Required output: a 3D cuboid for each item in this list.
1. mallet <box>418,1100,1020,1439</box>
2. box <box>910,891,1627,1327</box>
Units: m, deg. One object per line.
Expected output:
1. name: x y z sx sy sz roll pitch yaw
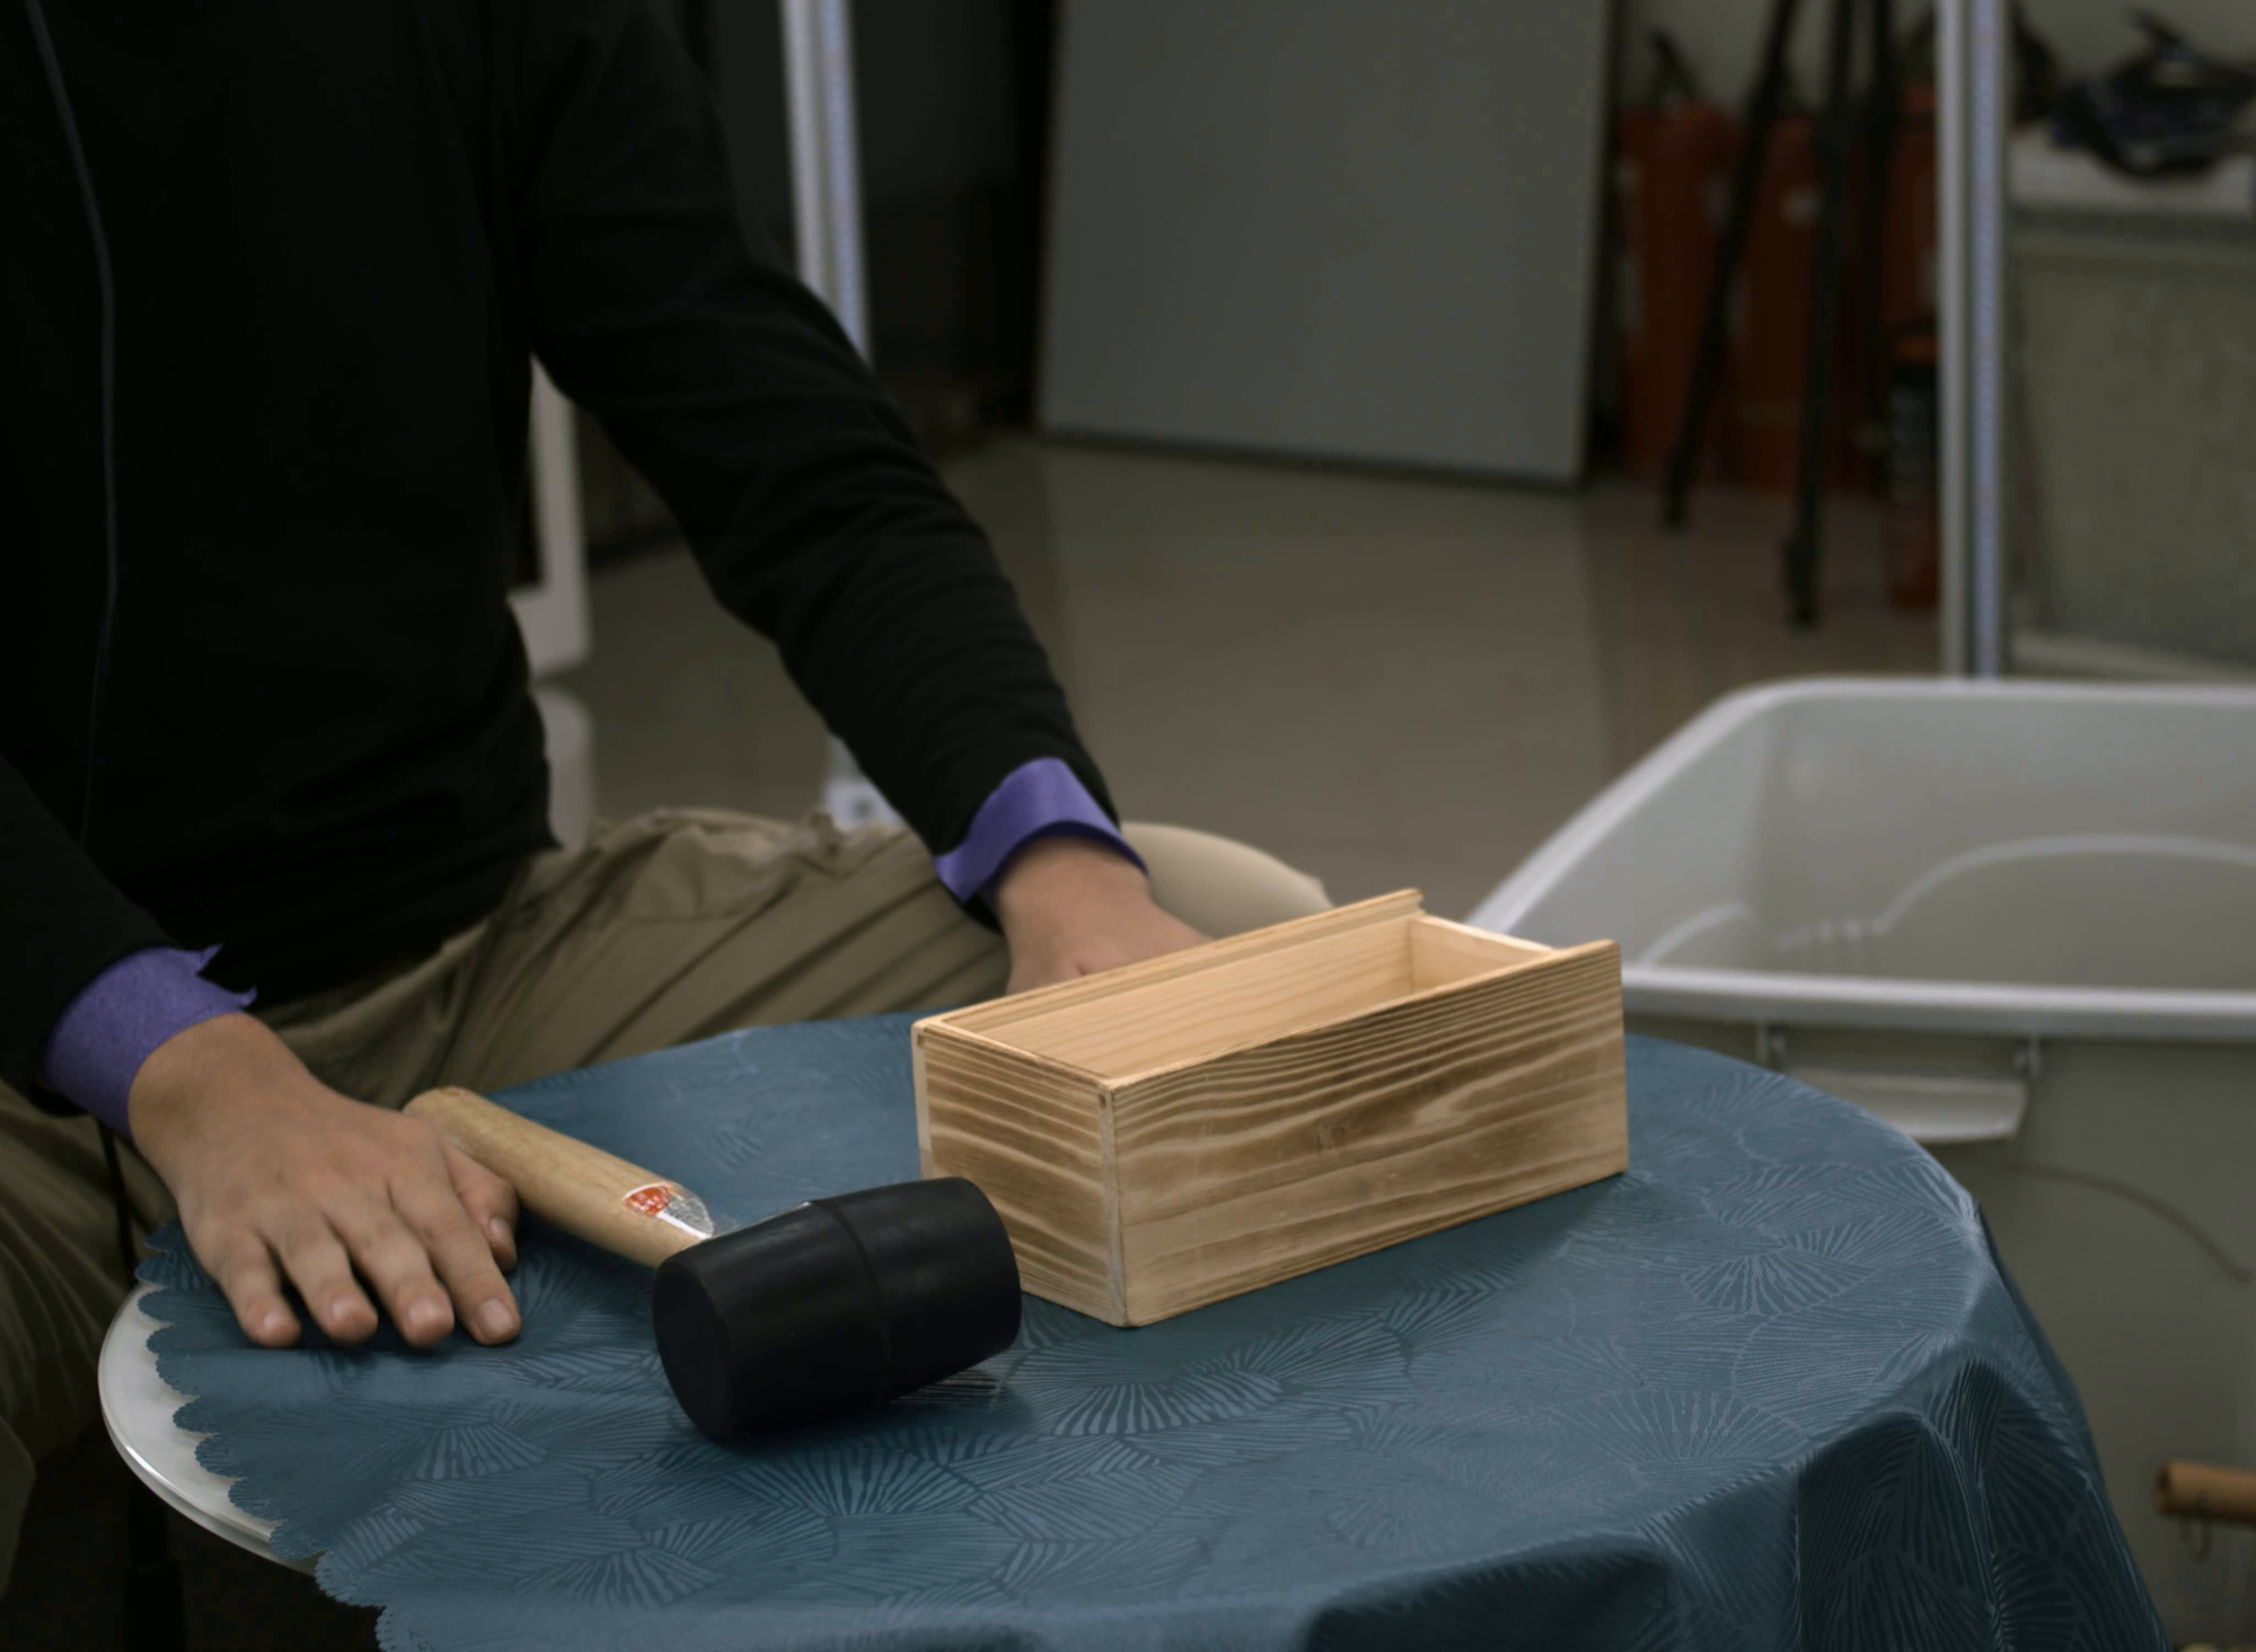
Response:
1. mallet: -0.152 0.119 1.706 0.099 0.065 0.342 -10 14 -26
2. box: 0.047 0.087 1.729 0.207 0.081 0.108 -14 16 -35
